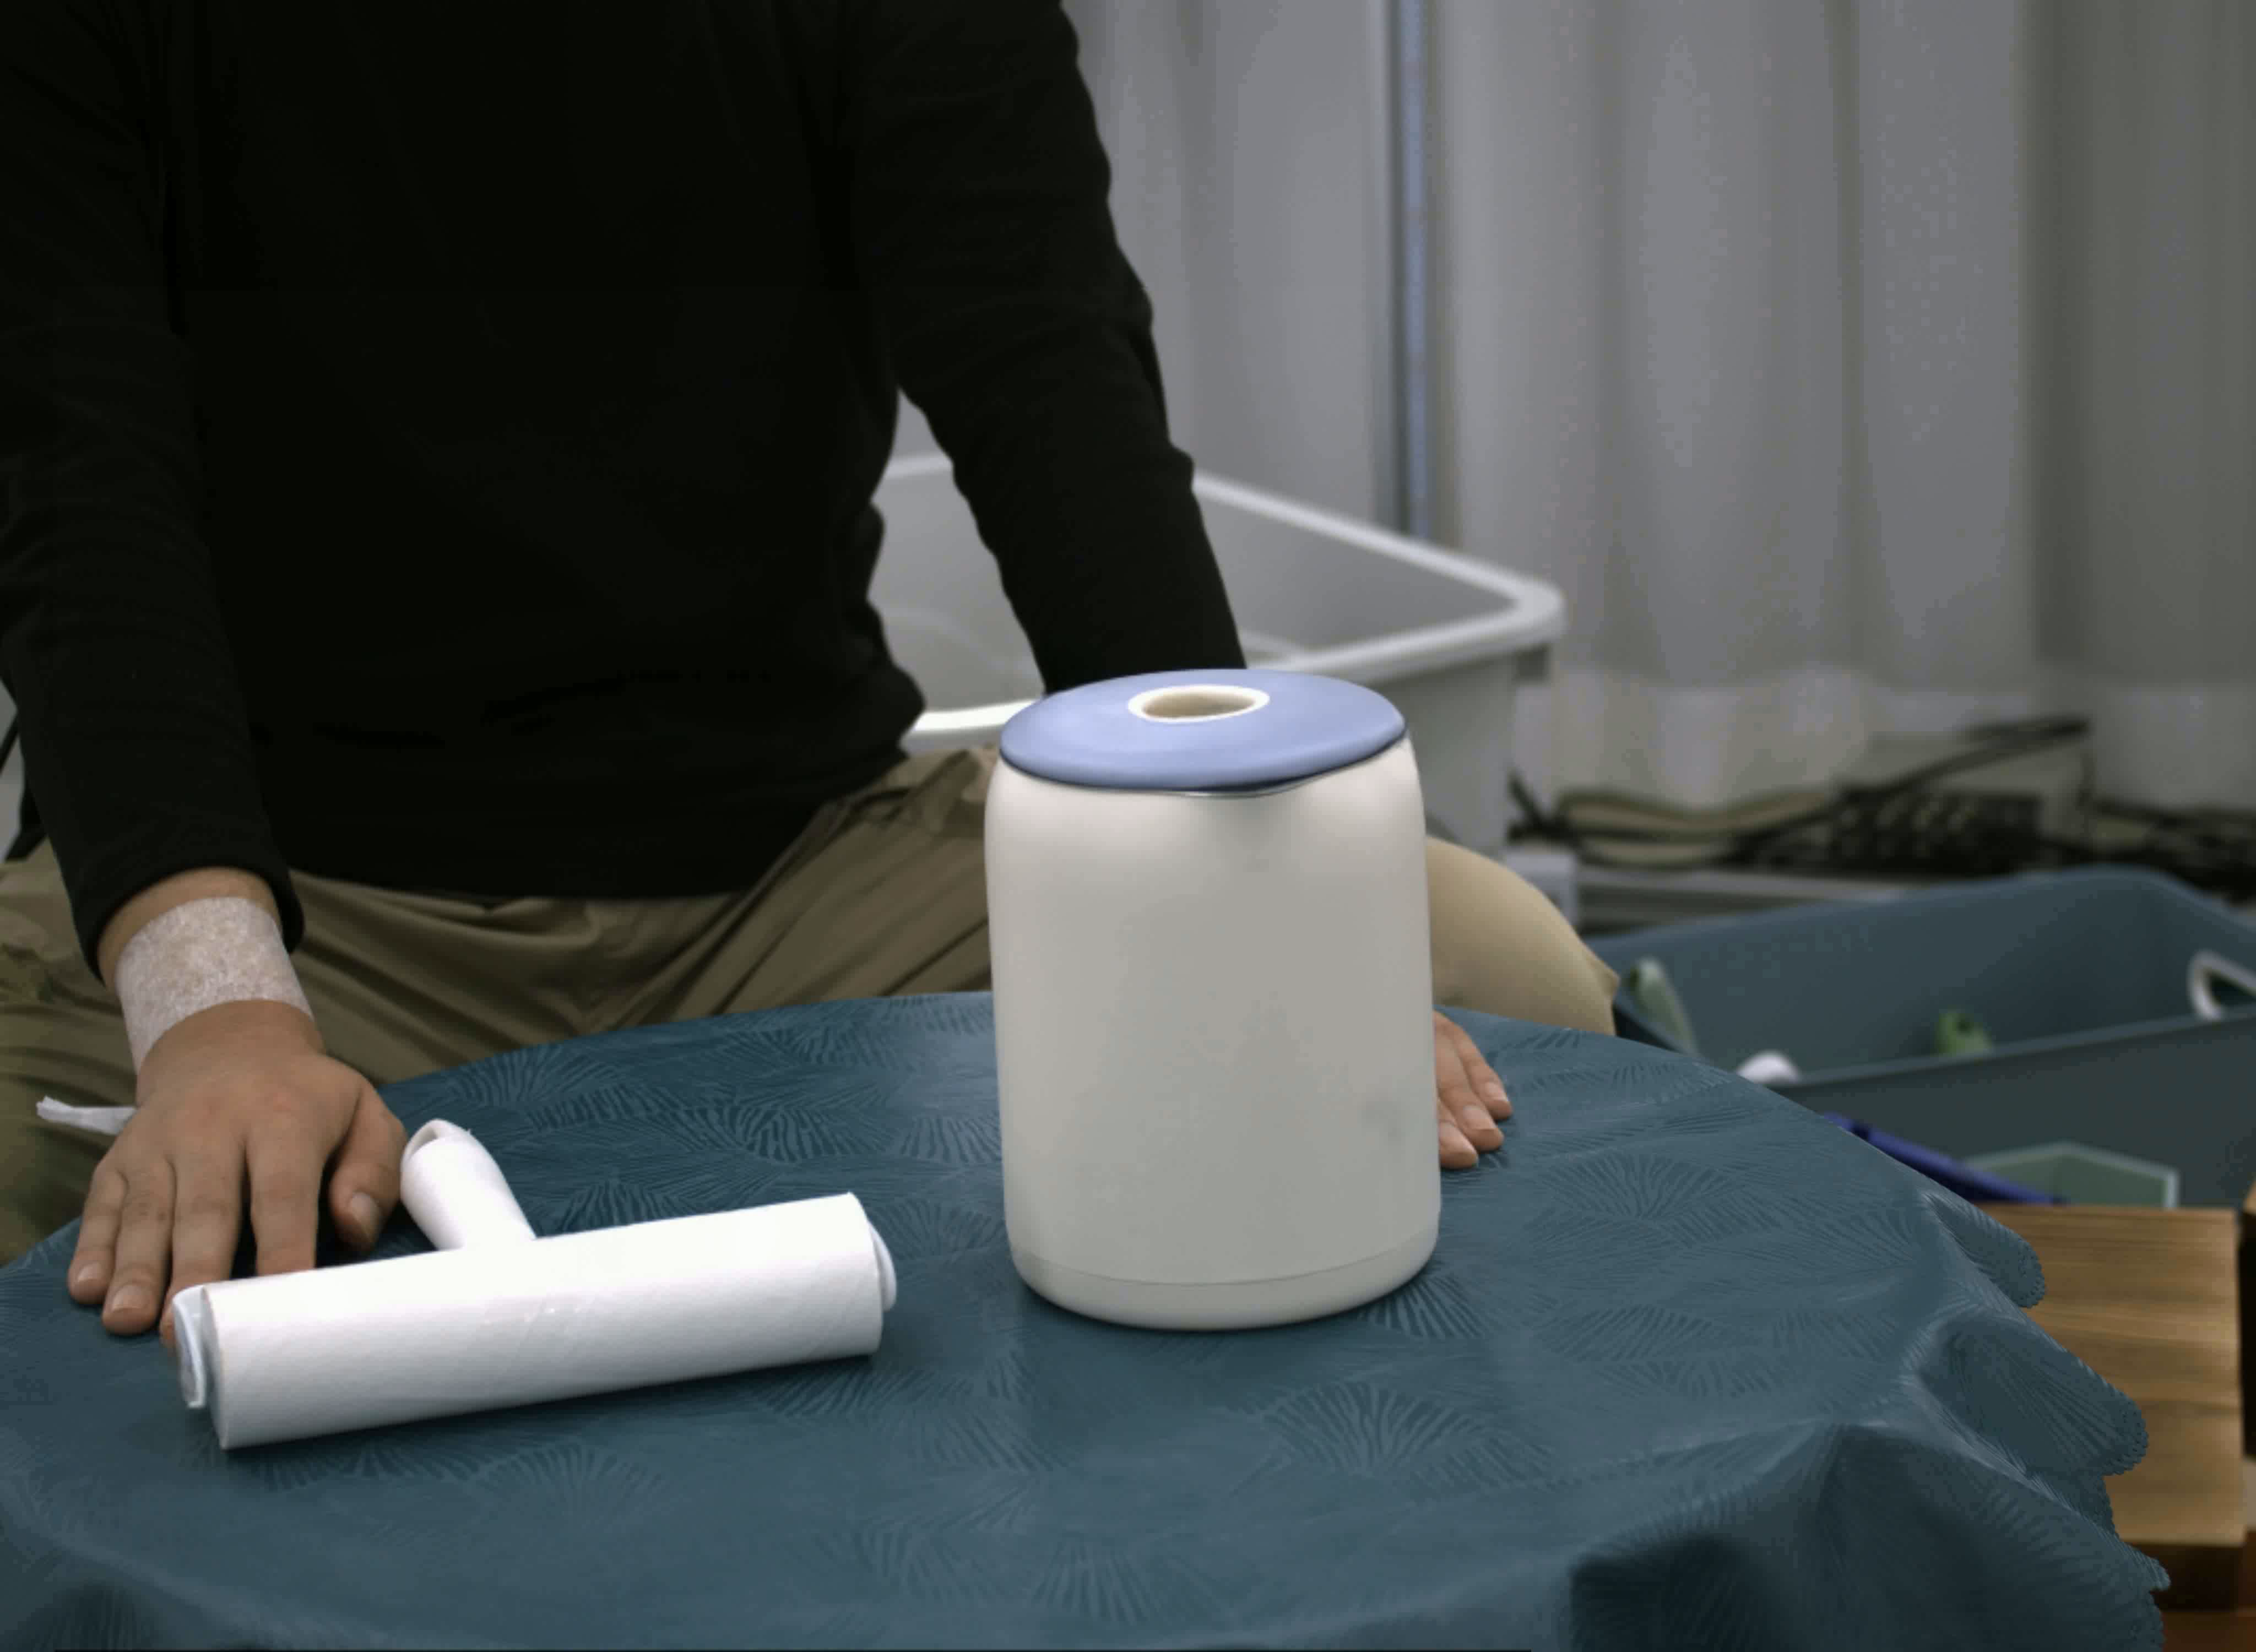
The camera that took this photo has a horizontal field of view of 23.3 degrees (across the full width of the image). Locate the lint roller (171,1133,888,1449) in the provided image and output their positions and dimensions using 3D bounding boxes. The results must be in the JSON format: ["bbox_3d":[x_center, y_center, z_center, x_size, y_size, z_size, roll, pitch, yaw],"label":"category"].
[{"bbox_3d":[-0.194,0.121,1.643,0.202,0.048,0.227,-8,14,-16],"label":"lint roller"}]

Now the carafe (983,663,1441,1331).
[{"bbox_3d":[0.019,0.044,1.645,0.131,0.182,0.192,-6,12,-13],"label":"carafe"}]
